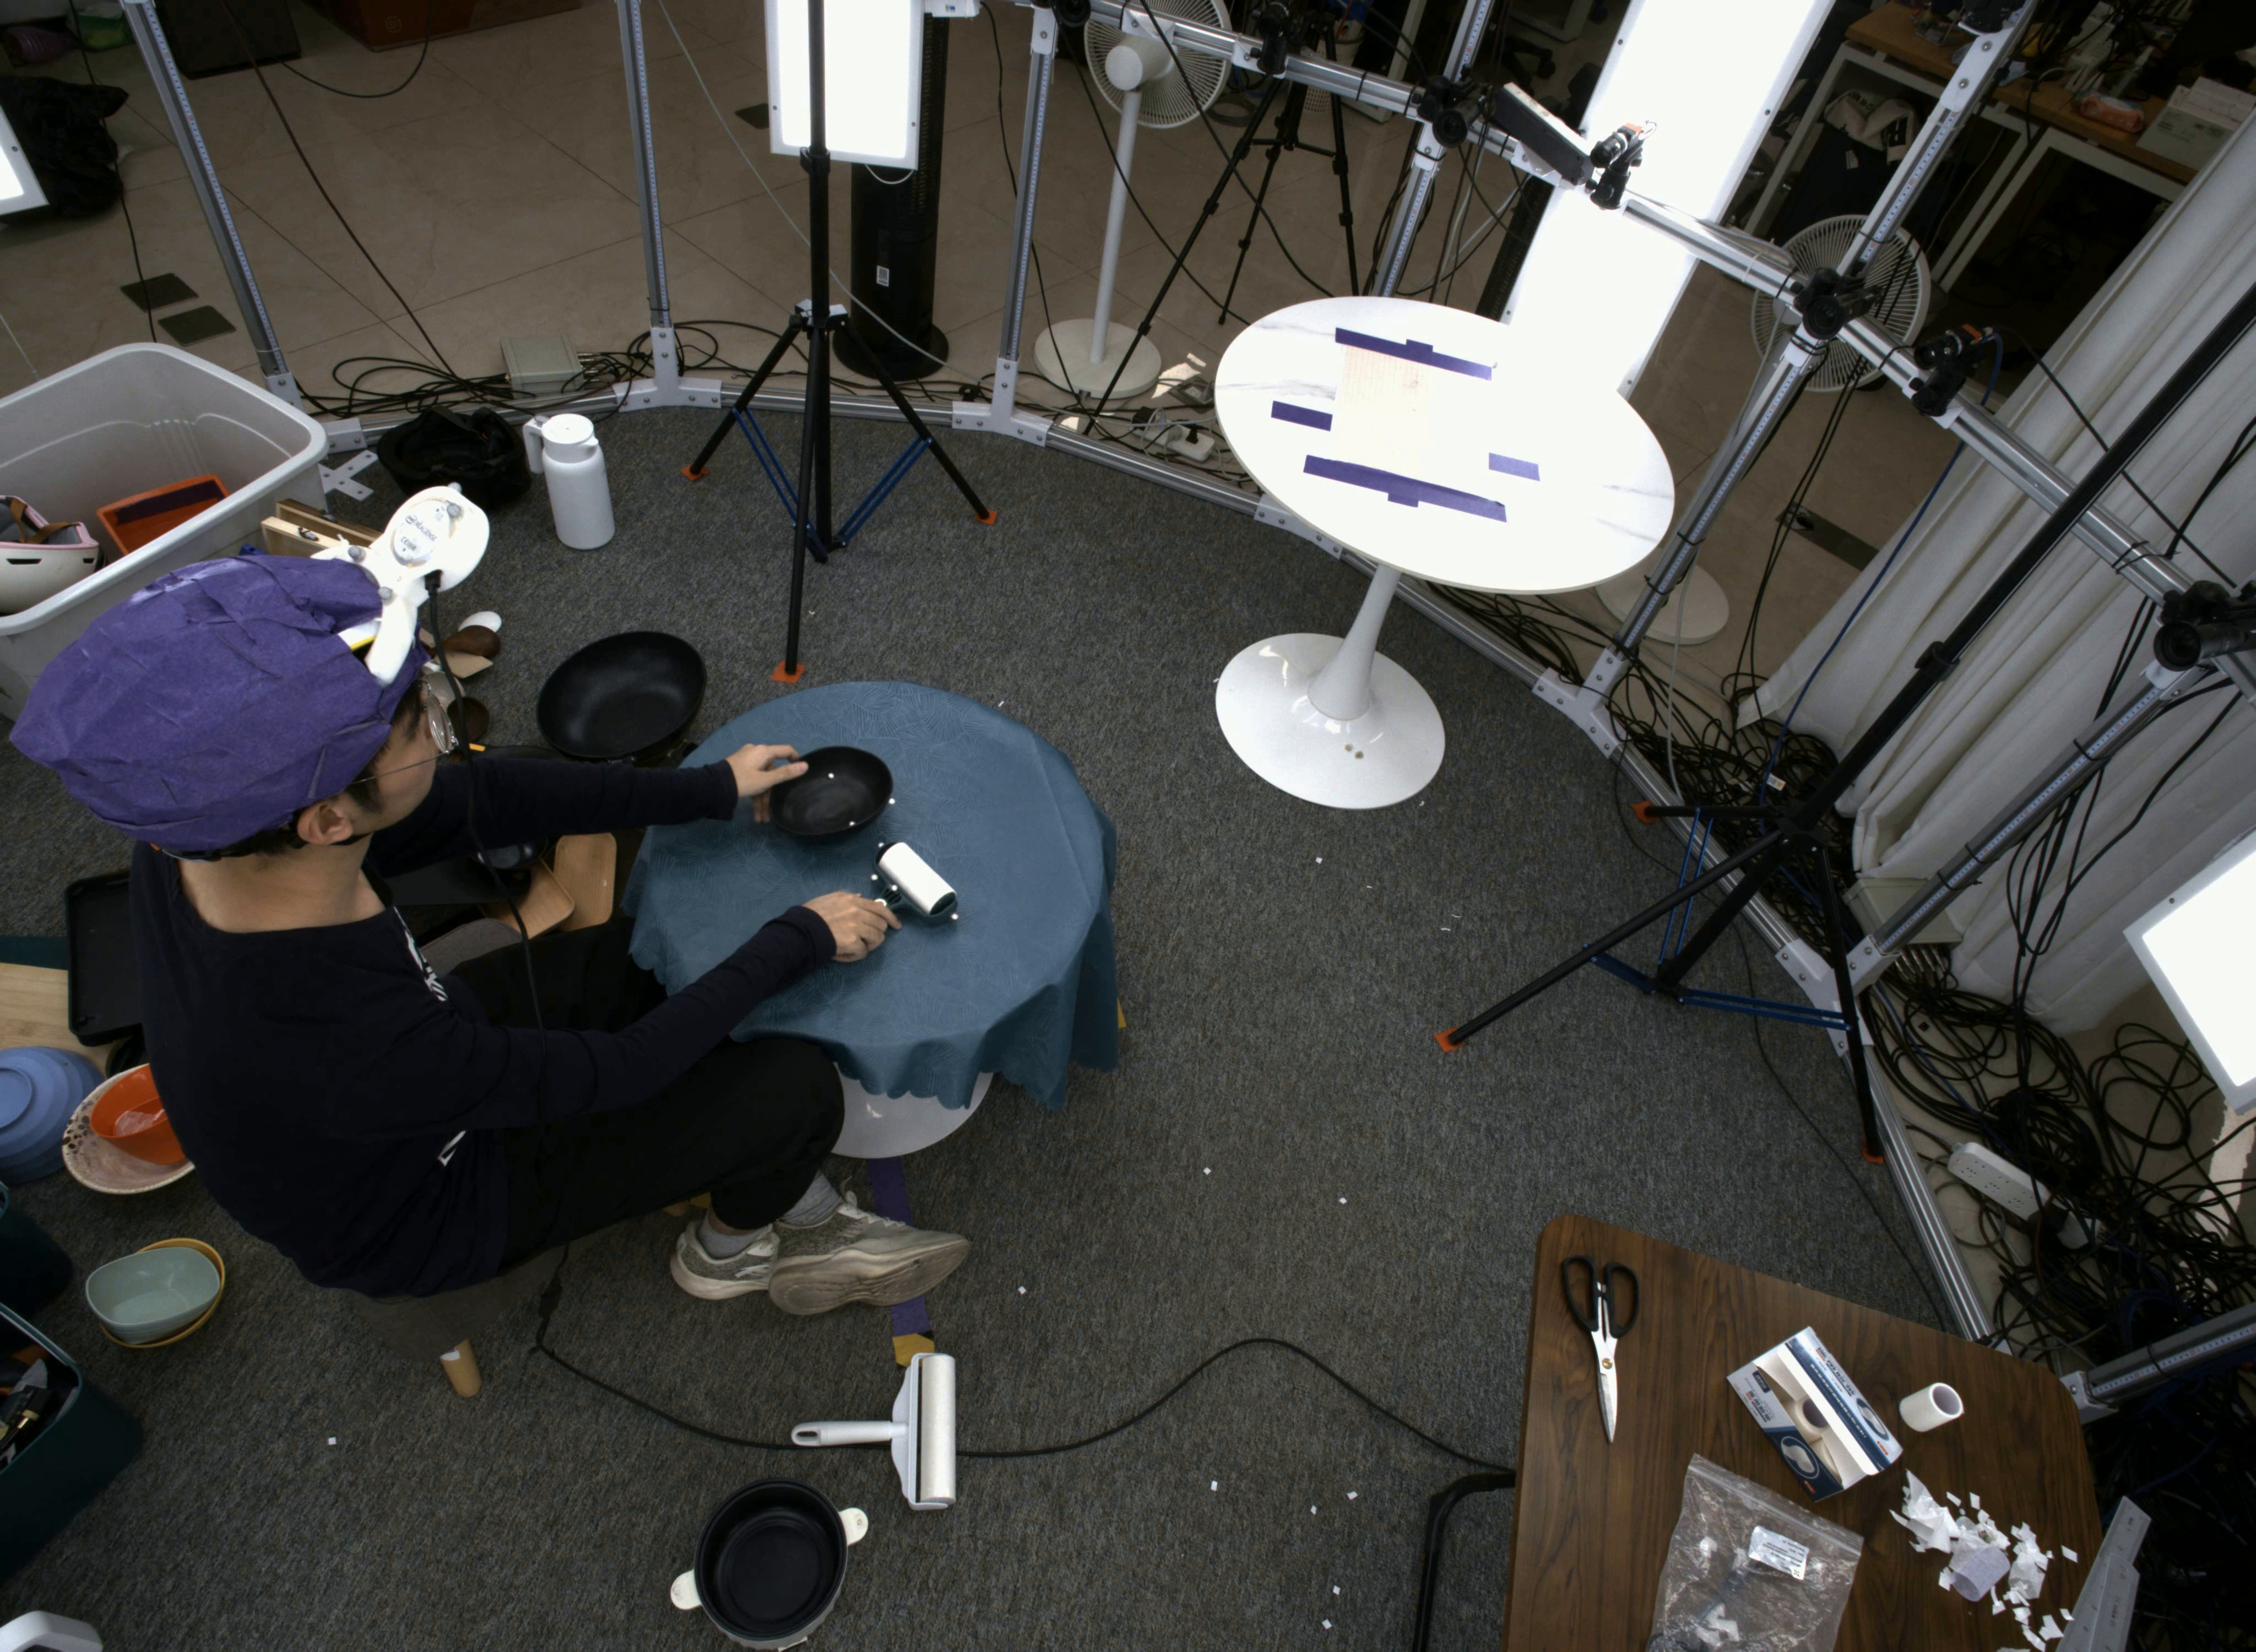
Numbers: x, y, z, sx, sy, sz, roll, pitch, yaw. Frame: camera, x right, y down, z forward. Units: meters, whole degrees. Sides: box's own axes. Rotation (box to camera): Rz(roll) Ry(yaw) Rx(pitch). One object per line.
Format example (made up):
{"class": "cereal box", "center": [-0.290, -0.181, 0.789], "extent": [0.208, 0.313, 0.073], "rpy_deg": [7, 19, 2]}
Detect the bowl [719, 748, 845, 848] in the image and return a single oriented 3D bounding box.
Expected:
{"class": "bowl", "center": [-0.453, -0.025, 1.704], "extent": [0.170, 0.068, 0.134], "rpy_deg": [-35, 68, -31]}

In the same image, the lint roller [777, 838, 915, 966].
{"class": "lint roller", "center": [-0.371, 0.107, 1.639], "extent": [0.131, 0.049, 0.180], "rpy_deg": [40, 55, 16]}
